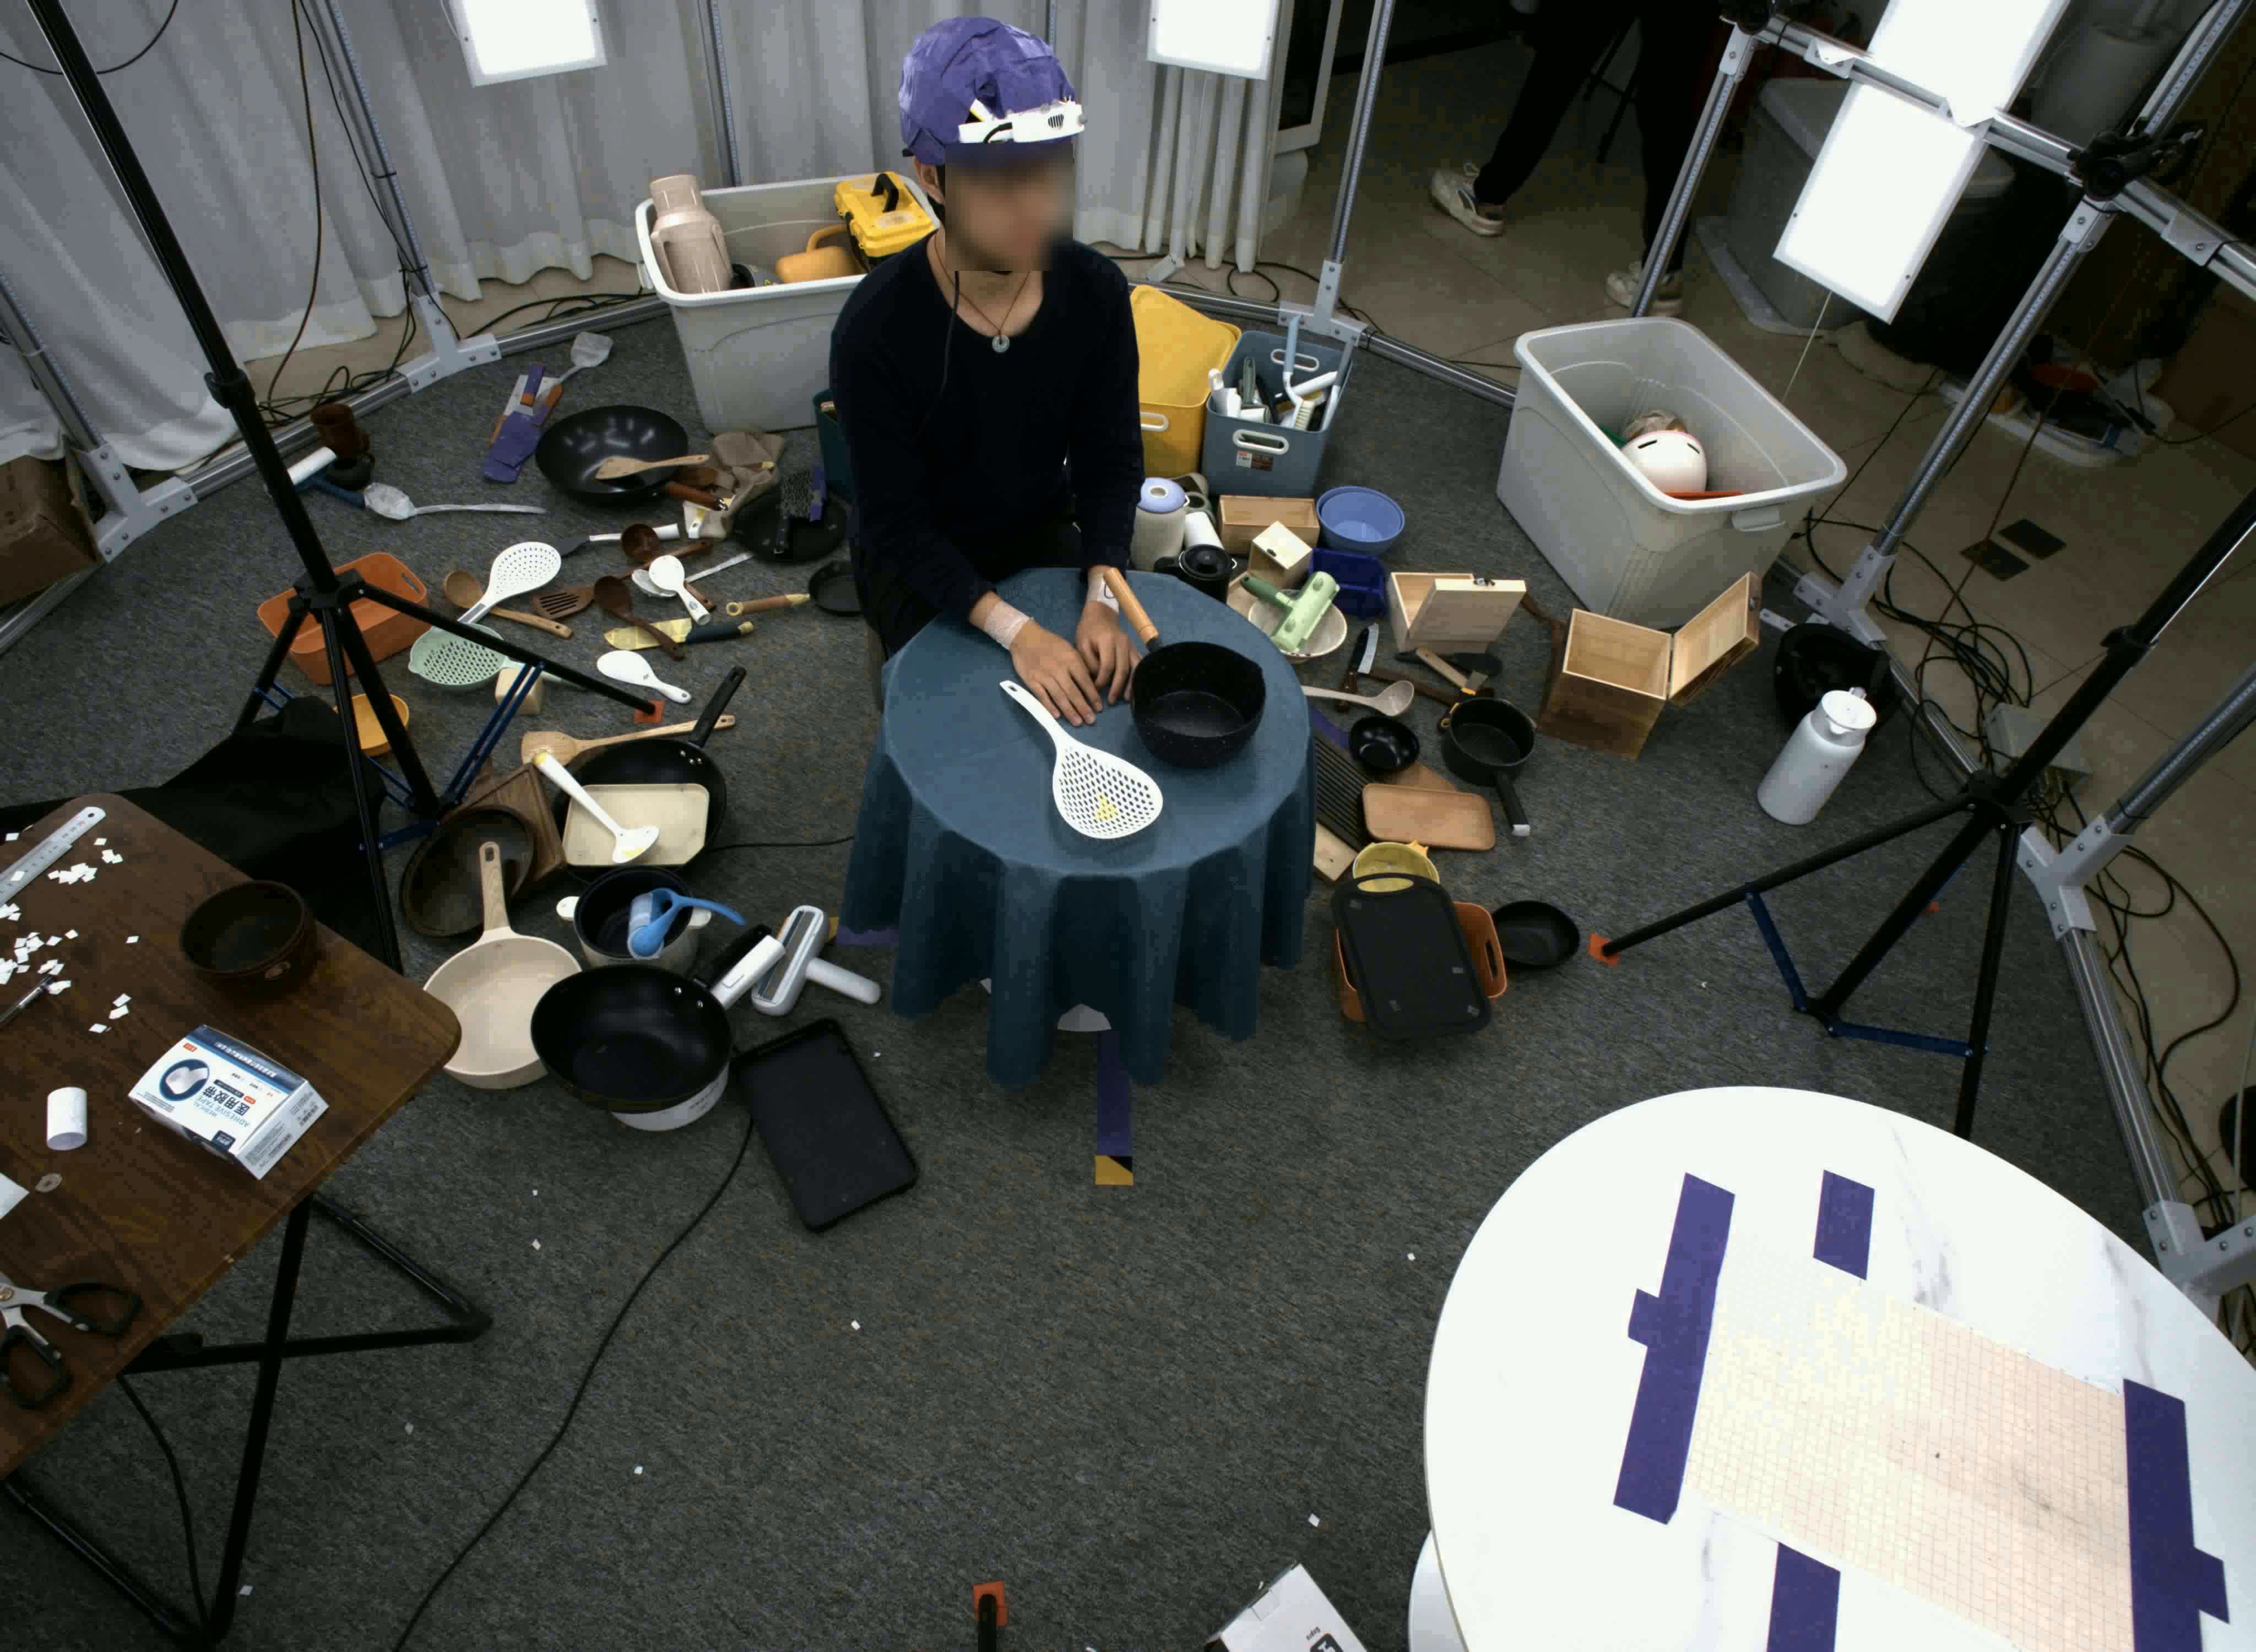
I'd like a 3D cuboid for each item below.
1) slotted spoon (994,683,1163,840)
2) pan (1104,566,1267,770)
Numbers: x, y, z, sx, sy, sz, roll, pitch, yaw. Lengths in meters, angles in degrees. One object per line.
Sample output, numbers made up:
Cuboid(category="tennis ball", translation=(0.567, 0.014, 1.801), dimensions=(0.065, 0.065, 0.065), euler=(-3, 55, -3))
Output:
Cuboid(category="slotted spoon", translation=(-0.084, -0.099, 1.721), dimensions=(0.137, 0.049, 0.355), euler=(-25, 56, -21))
Cuboid(category="pan", translation=(0.053, -0.222, 1.796), dimensions=(0.208, 0.105, 0.350), euler=(-23, 56, -21))
